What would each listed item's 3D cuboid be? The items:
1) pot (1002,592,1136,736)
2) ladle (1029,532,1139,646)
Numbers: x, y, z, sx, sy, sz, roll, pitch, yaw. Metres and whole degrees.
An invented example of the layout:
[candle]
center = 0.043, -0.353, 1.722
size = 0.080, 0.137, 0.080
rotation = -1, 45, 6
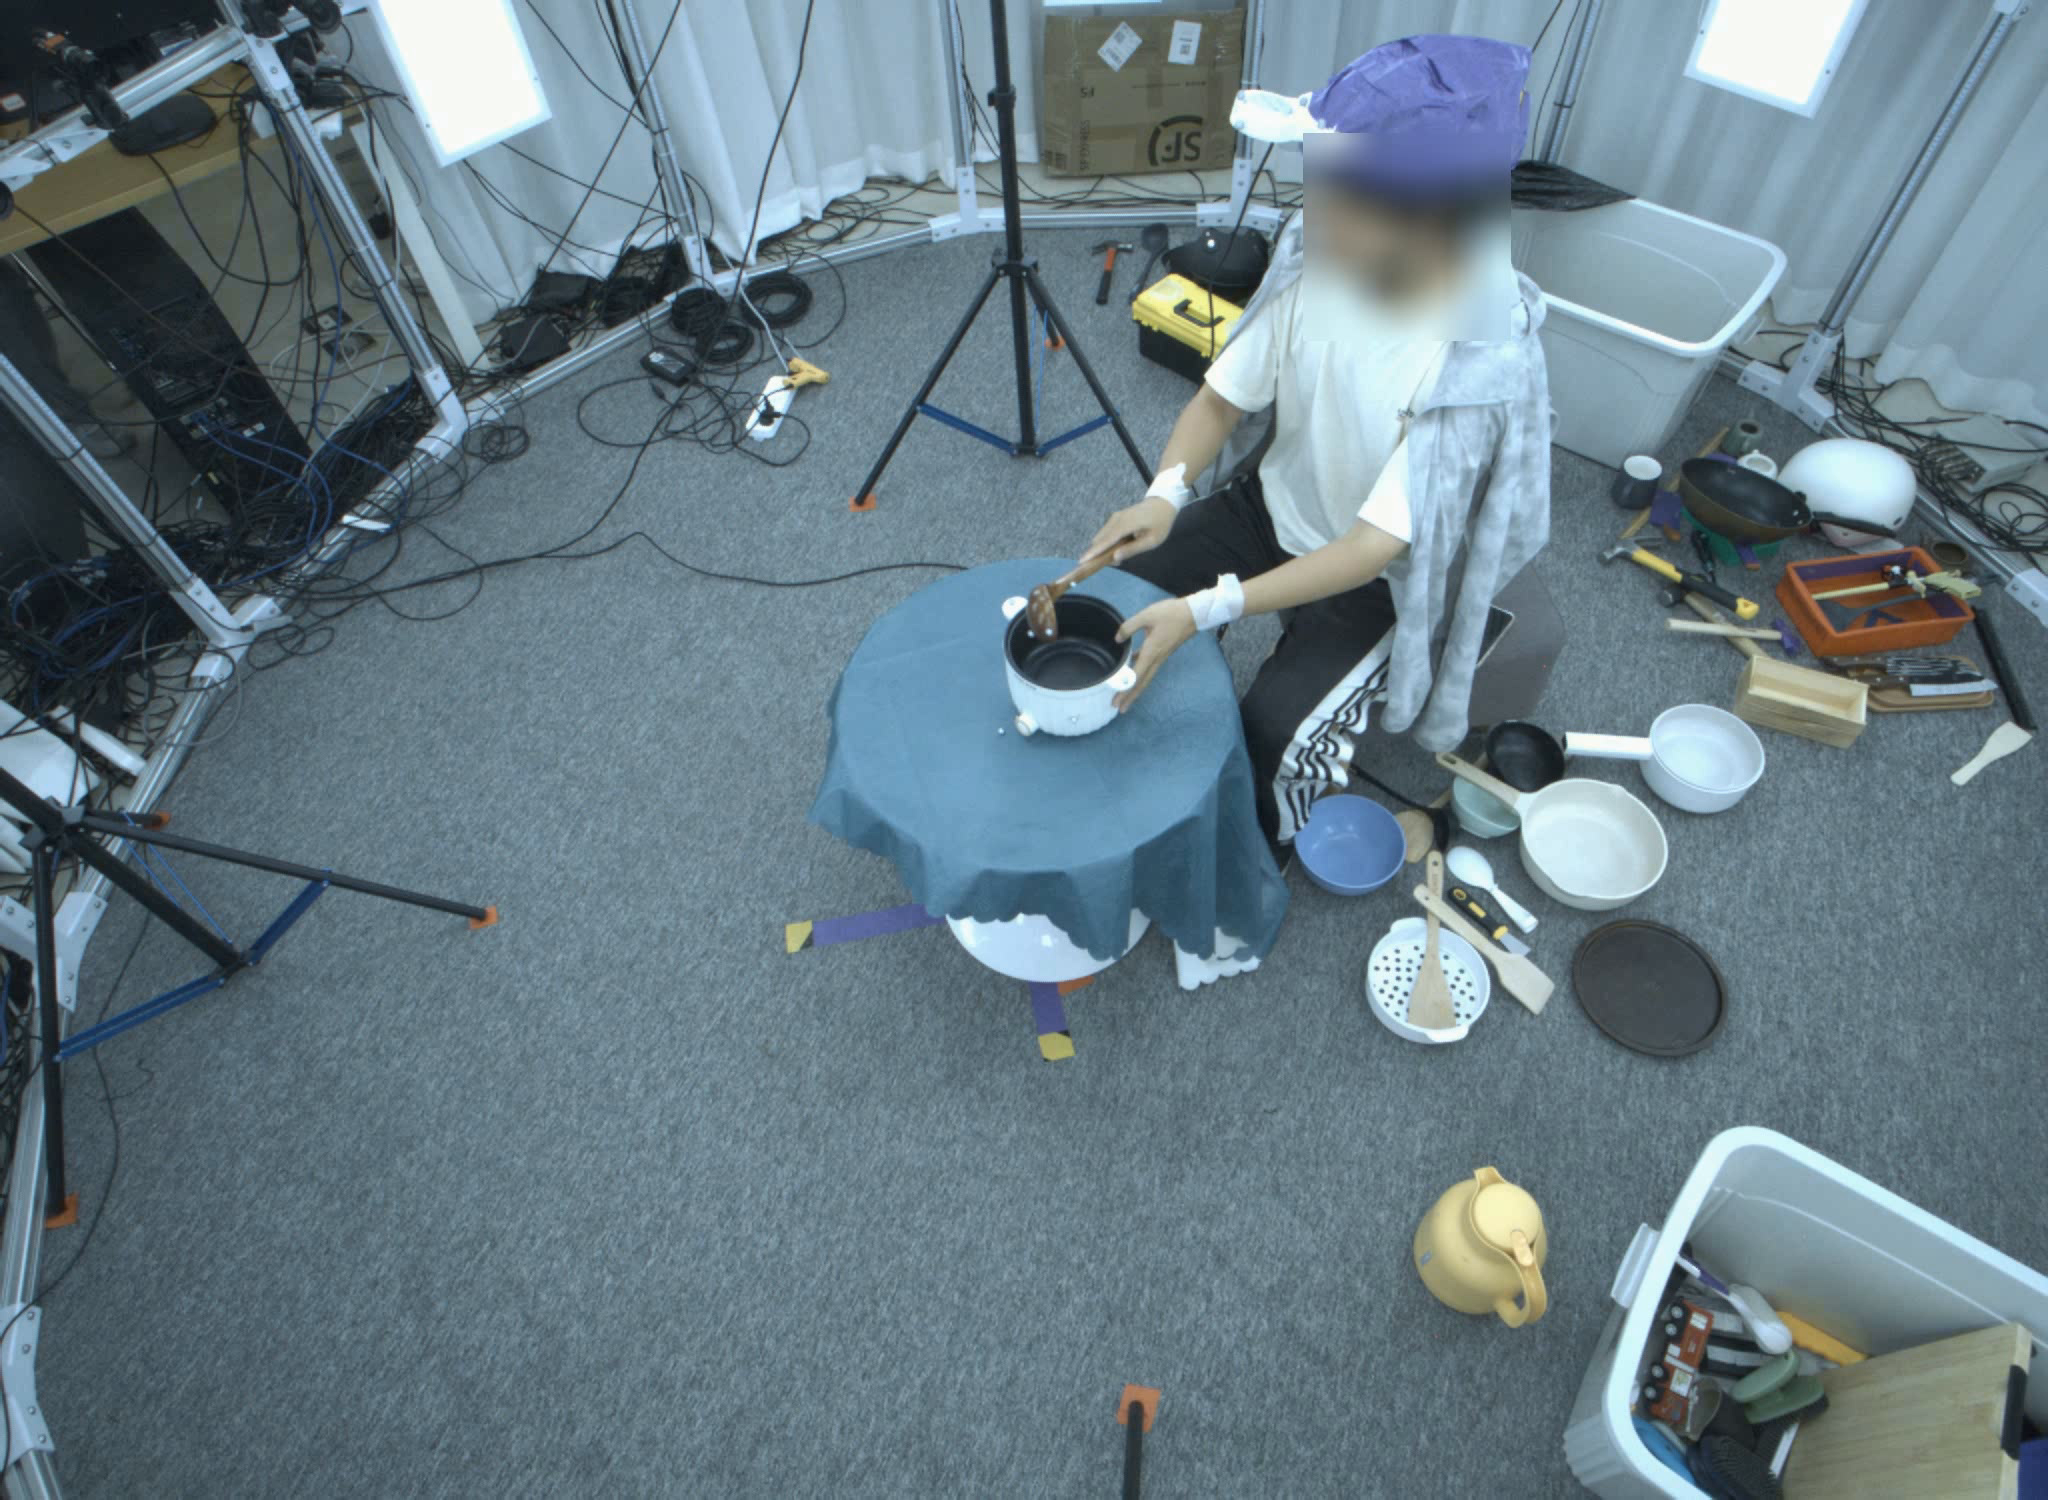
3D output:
[pot]
center = 0.061, -0.113, 1.782
size = 0.236, 0.144, 0.192
rotation = 35, 60, 25
[ladle]
center = 0.100, -0.235, 1.715
size = 0.075, 0.083, 0.277
rotation = 30, 49, 28
